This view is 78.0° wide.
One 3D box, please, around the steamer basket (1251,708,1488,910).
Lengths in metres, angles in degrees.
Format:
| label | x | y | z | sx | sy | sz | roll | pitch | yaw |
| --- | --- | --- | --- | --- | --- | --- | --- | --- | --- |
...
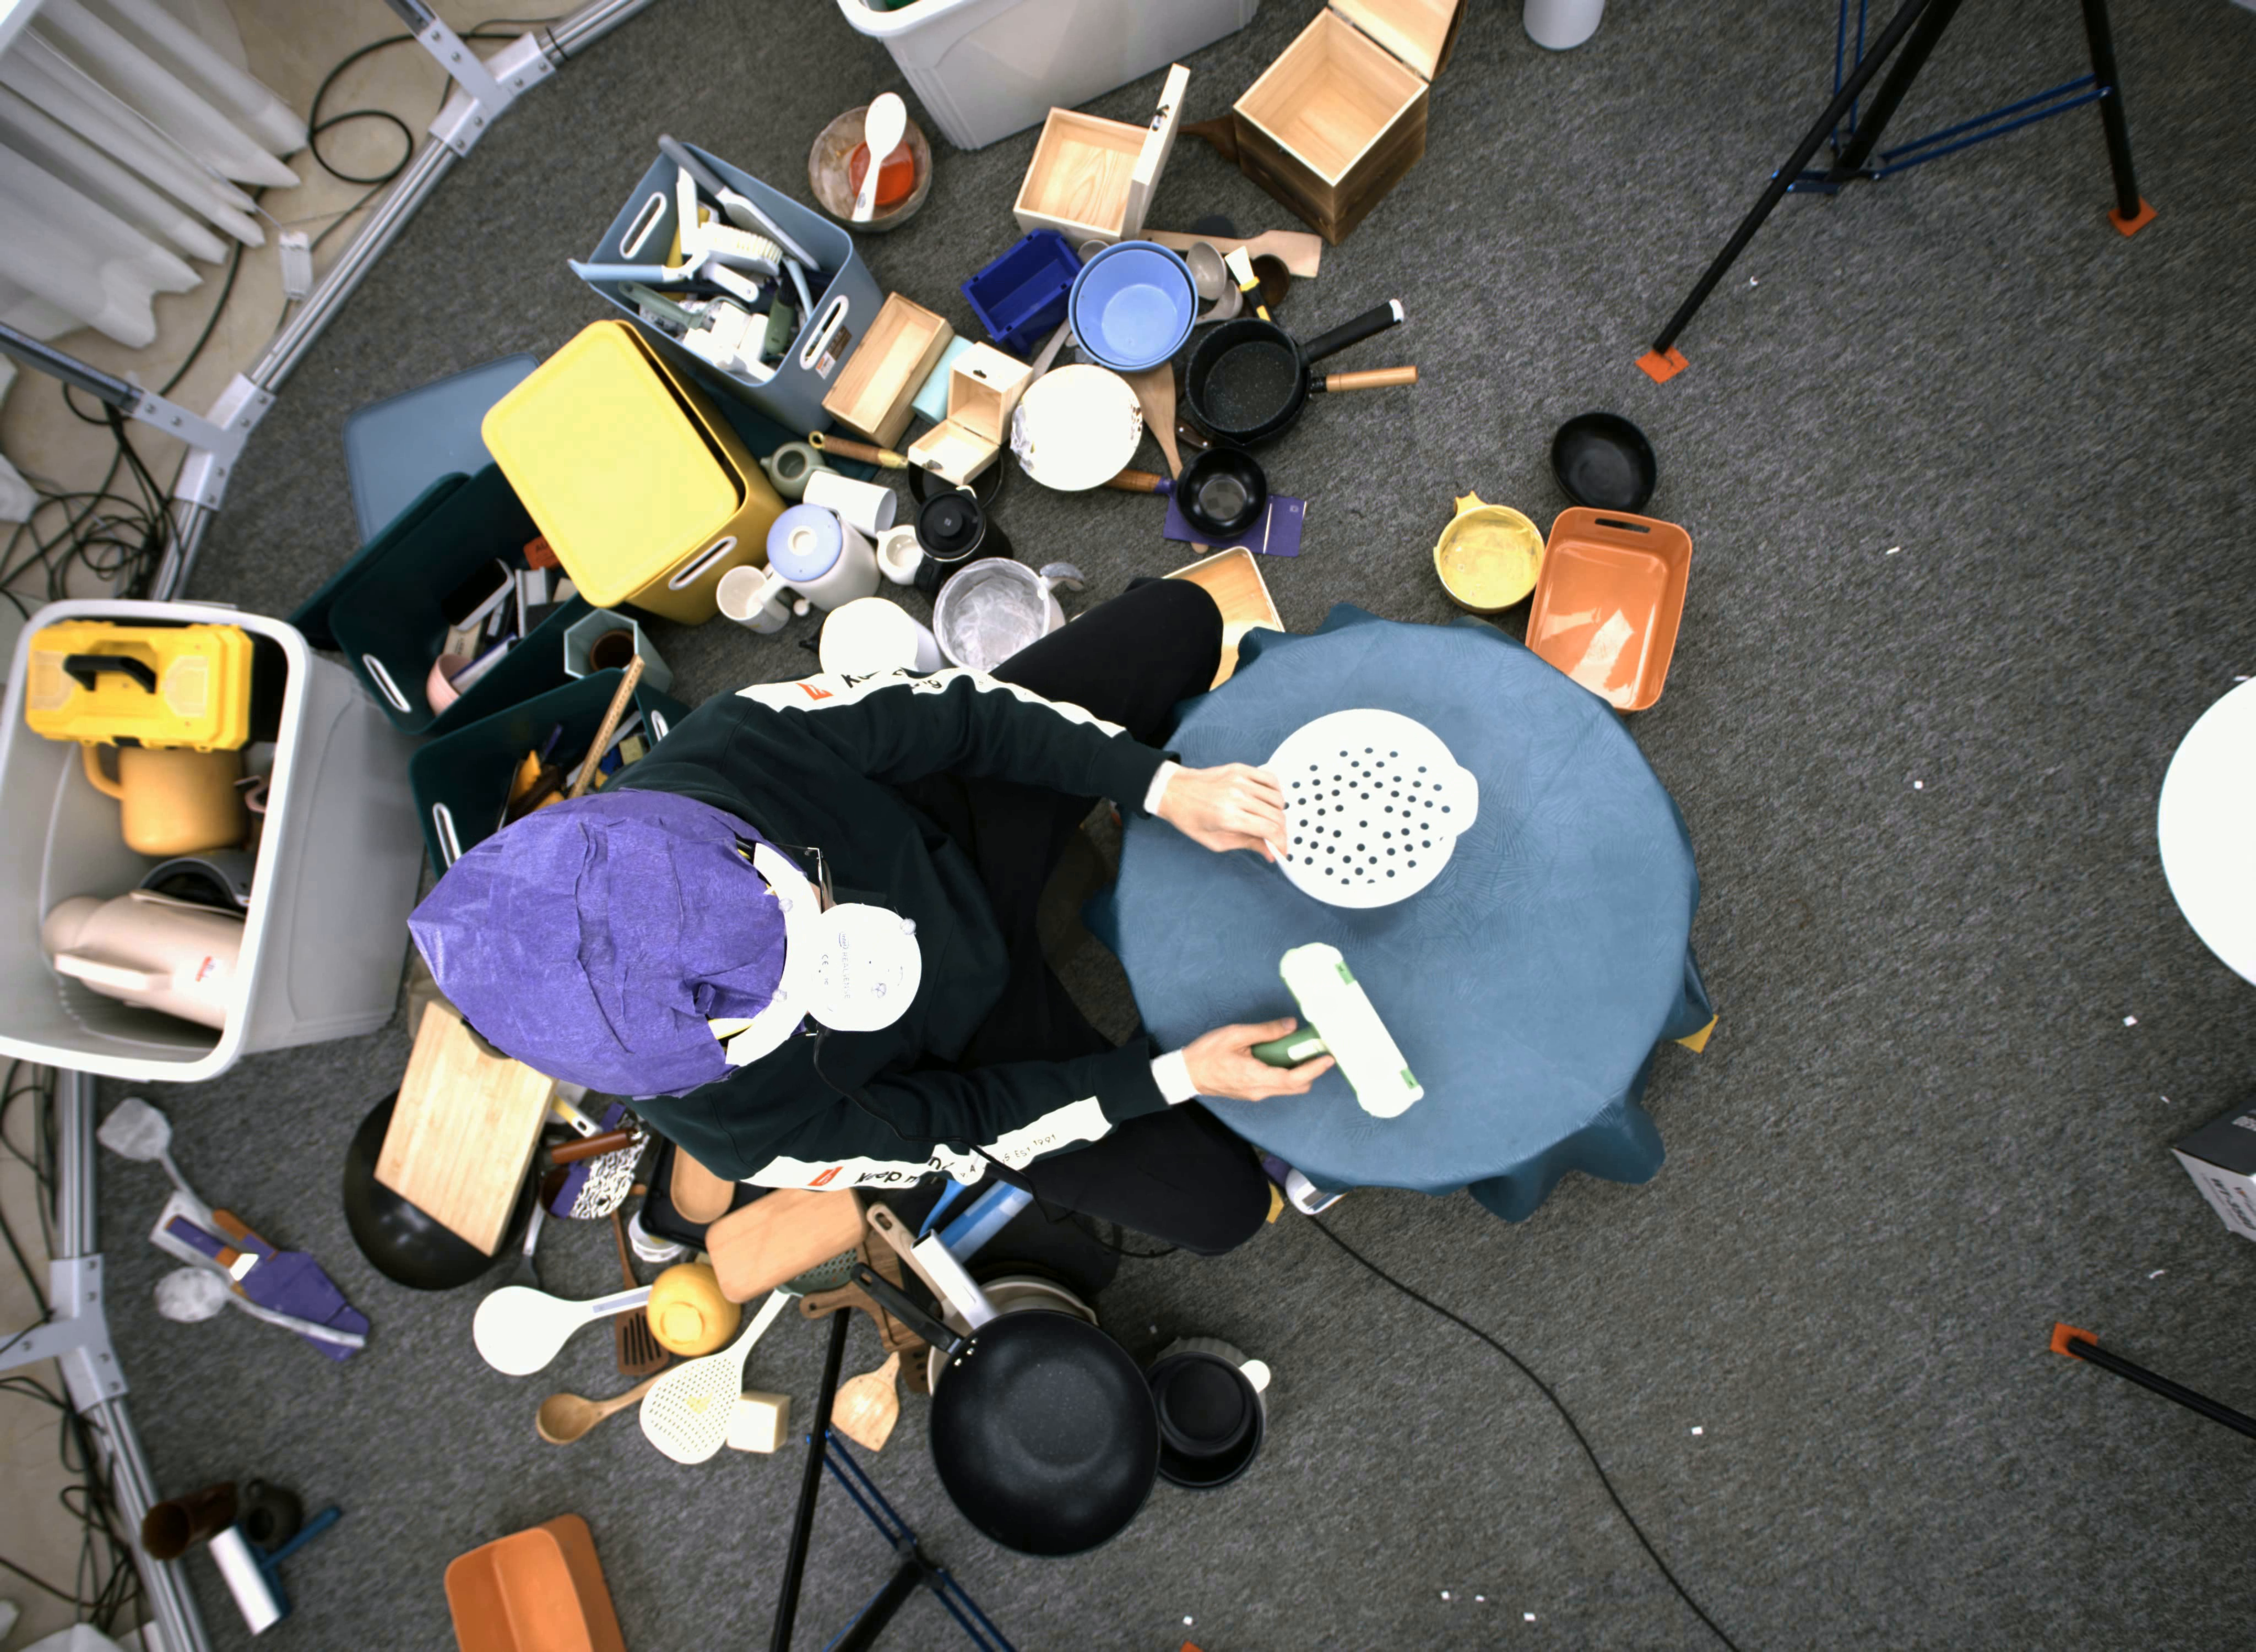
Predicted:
| label | x | y | z | sx | sy | sz | roll | pitch | yaw |
| --- | --- | --- | --- | --- | --- | --- | --- | --- | --- |
| steamer basket | 0.241 | -0.018 | 1.377 | 0.231 | 0.070 | 0.198 | 1 | 70 | 13 |

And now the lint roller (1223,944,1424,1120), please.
| label | x | y | z | sx | sy | sz | roll | pitch | yaw |
| --- | --- | --- | --- | --- | --- | --- | --- | --- | --- |
| lint roller | 0.173 | 0.229 | 1.387 | 0.185 | 0.080 | 0.200 | -26 | 109 | 20 |
